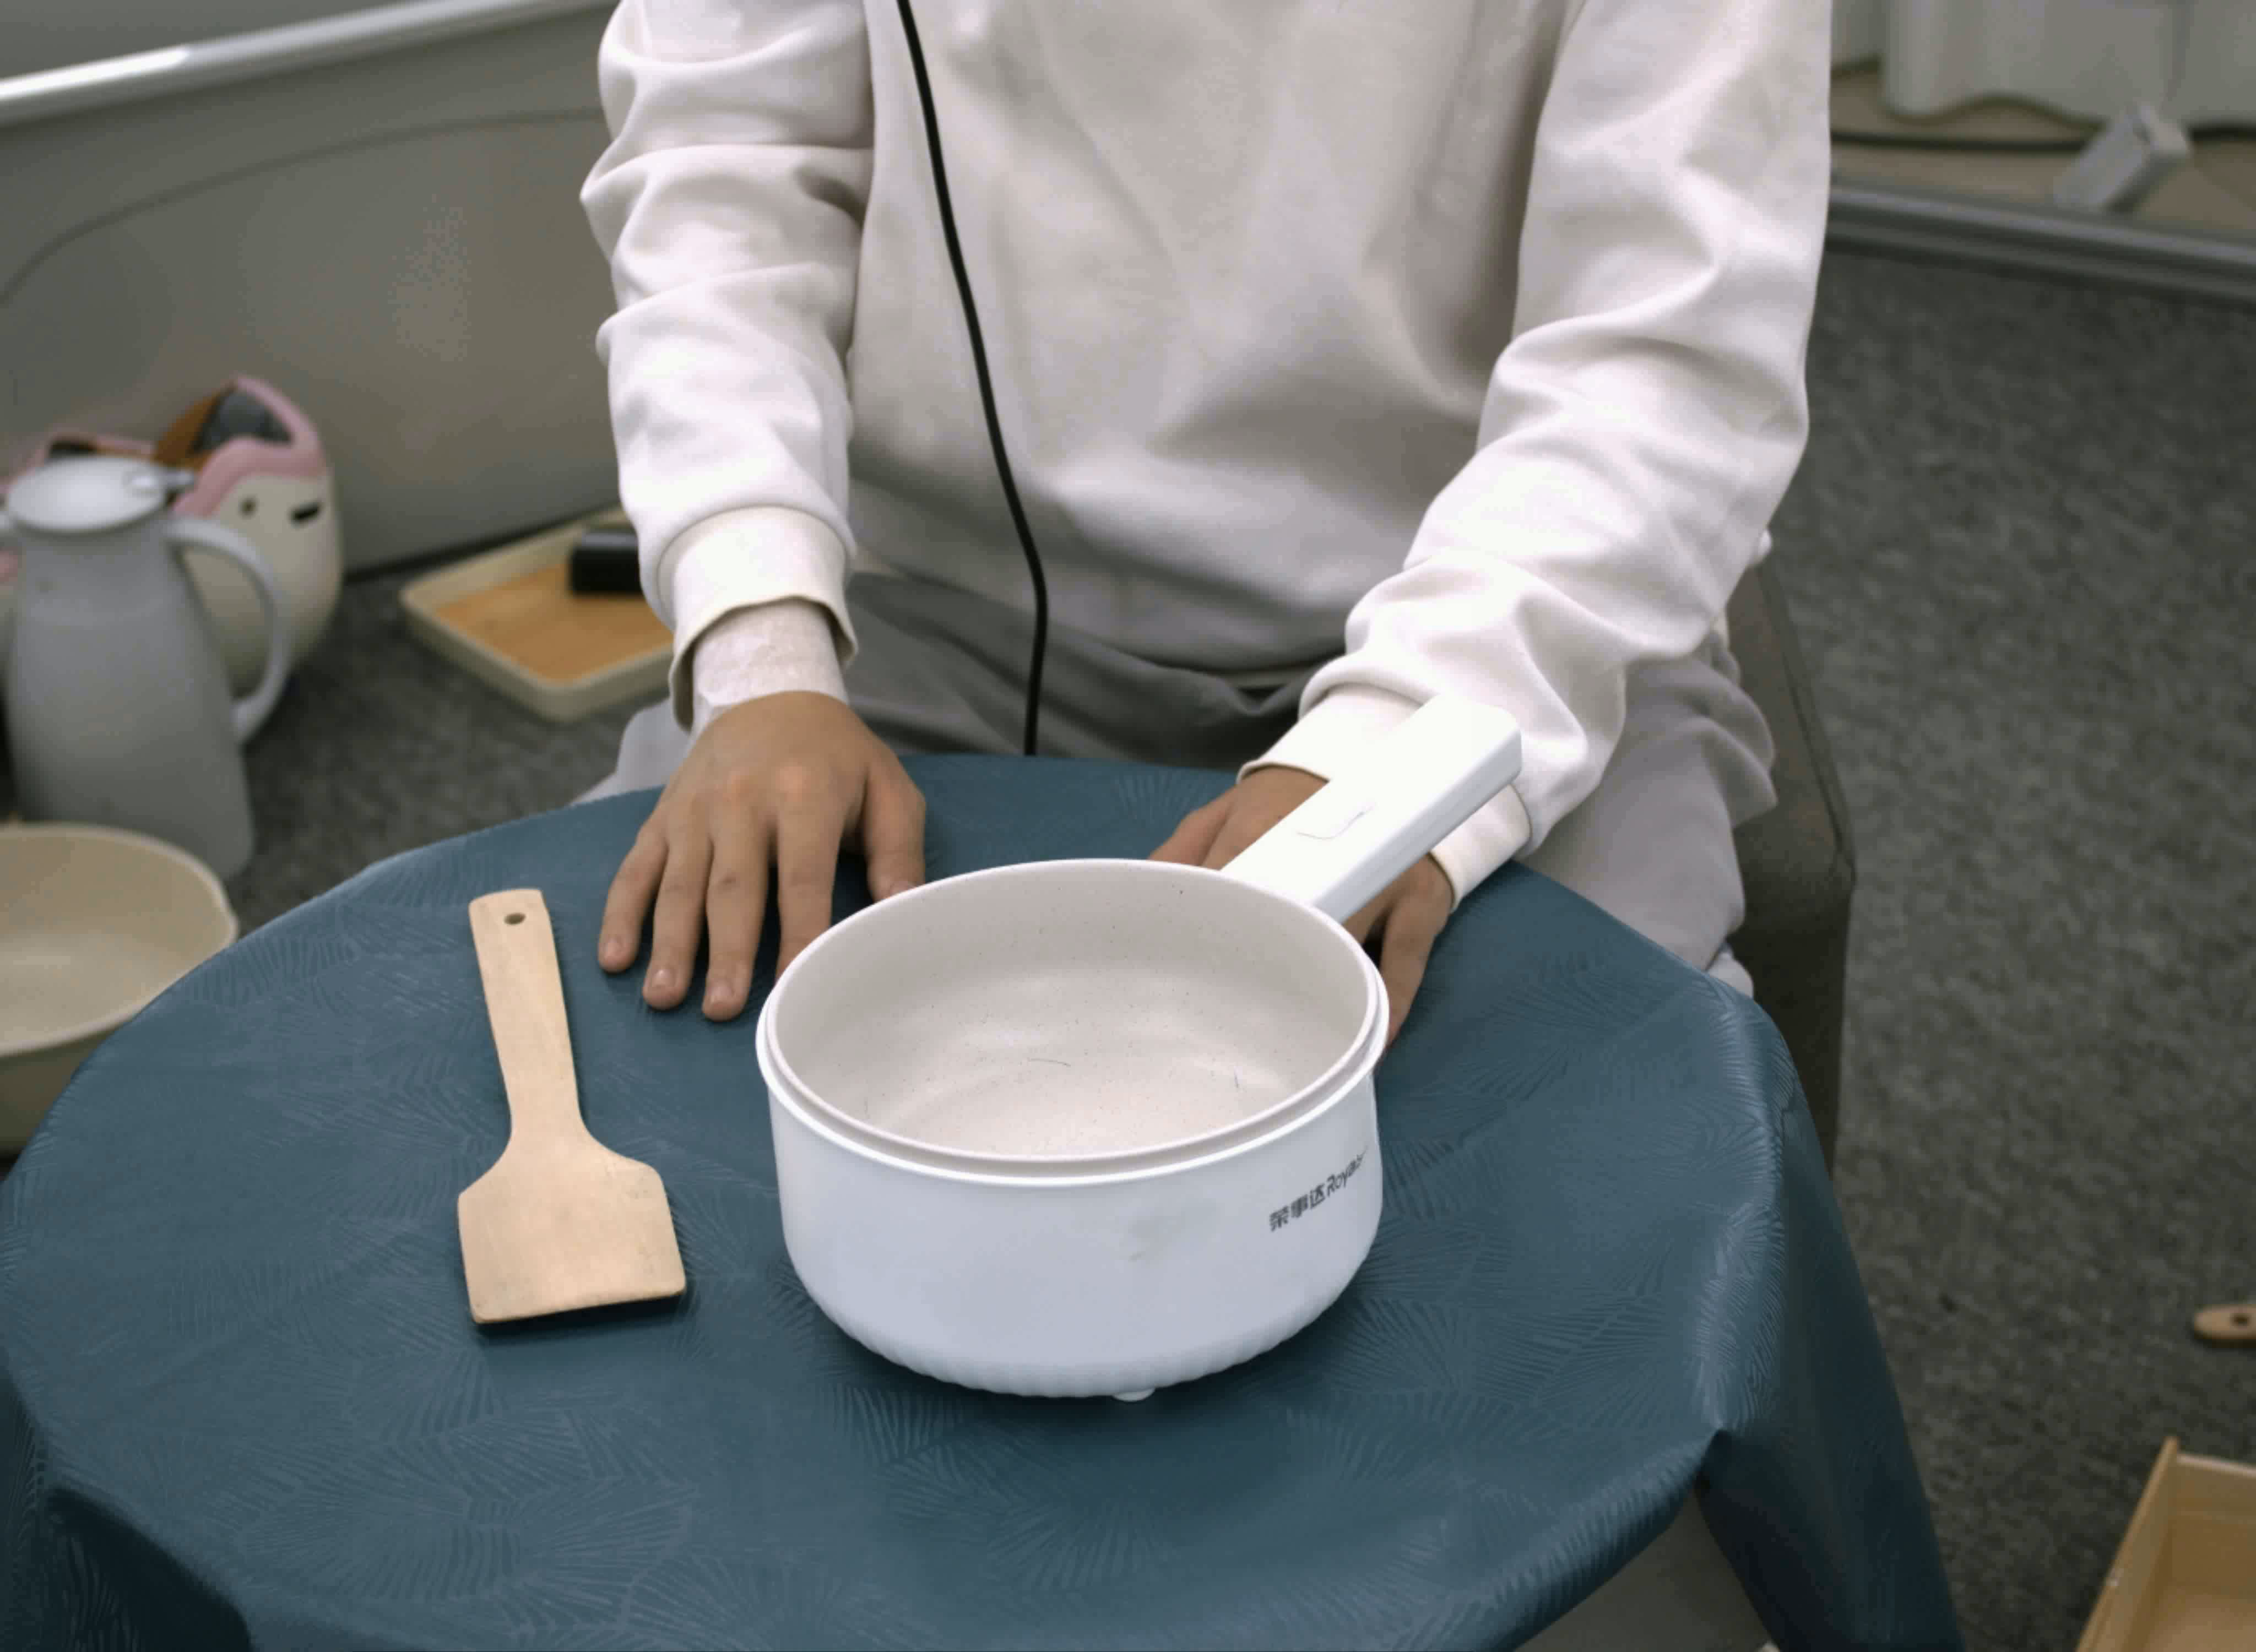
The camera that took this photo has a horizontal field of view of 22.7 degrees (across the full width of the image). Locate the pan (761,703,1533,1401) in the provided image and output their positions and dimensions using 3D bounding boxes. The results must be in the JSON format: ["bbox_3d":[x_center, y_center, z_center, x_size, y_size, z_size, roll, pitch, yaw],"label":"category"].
[{"bbox_3d":[0.028,0.070,1.857,0.200,0.101,0.360,14,30,30],"label":"pan"}]

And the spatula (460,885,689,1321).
[{"bbox_3d":[-0.202,0.091,1.932,0.072,0.010,0.296,-8,28,-8],"label":"spatula"}]
